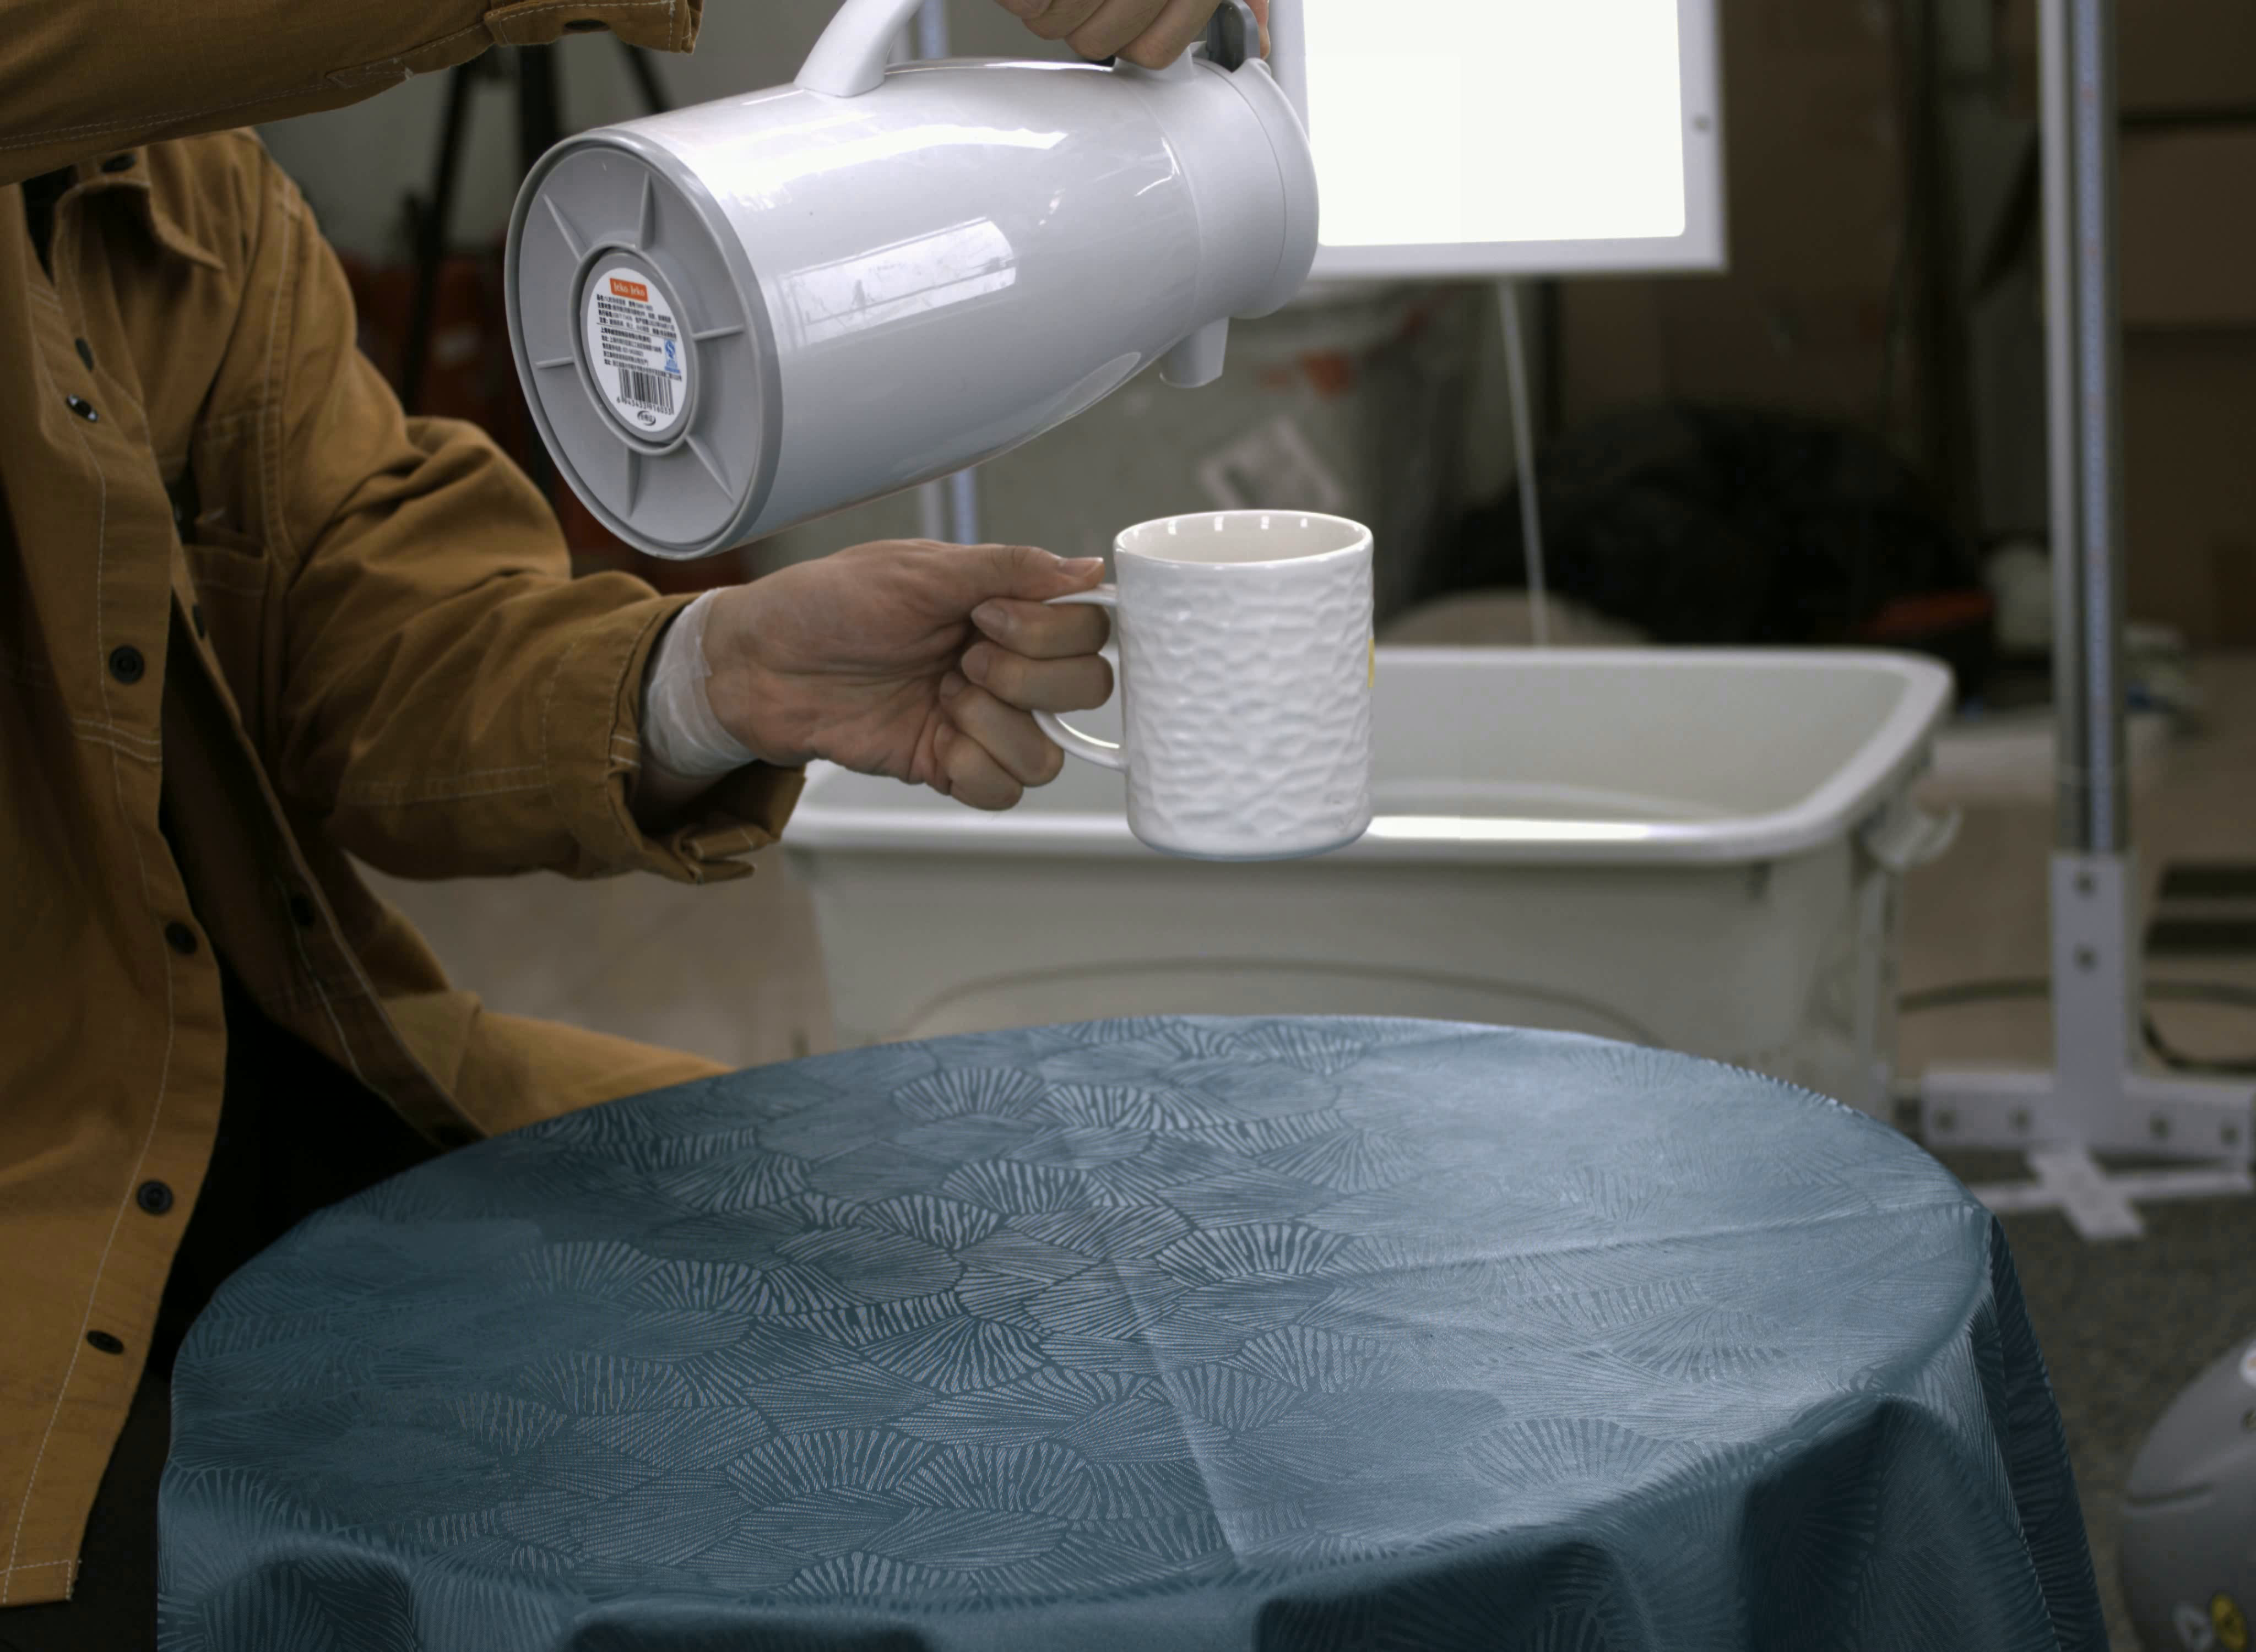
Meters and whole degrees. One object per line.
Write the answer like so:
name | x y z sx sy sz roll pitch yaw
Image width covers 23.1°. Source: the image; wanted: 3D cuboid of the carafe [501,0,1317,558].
carafe | -0.056 -0.194 1.708 0.242 0.168 0.135 -20 29 -34

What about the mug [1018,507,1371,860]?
mug | 0.023 -0.048 1.827 0.118 0.102 0.084 0 15 7
